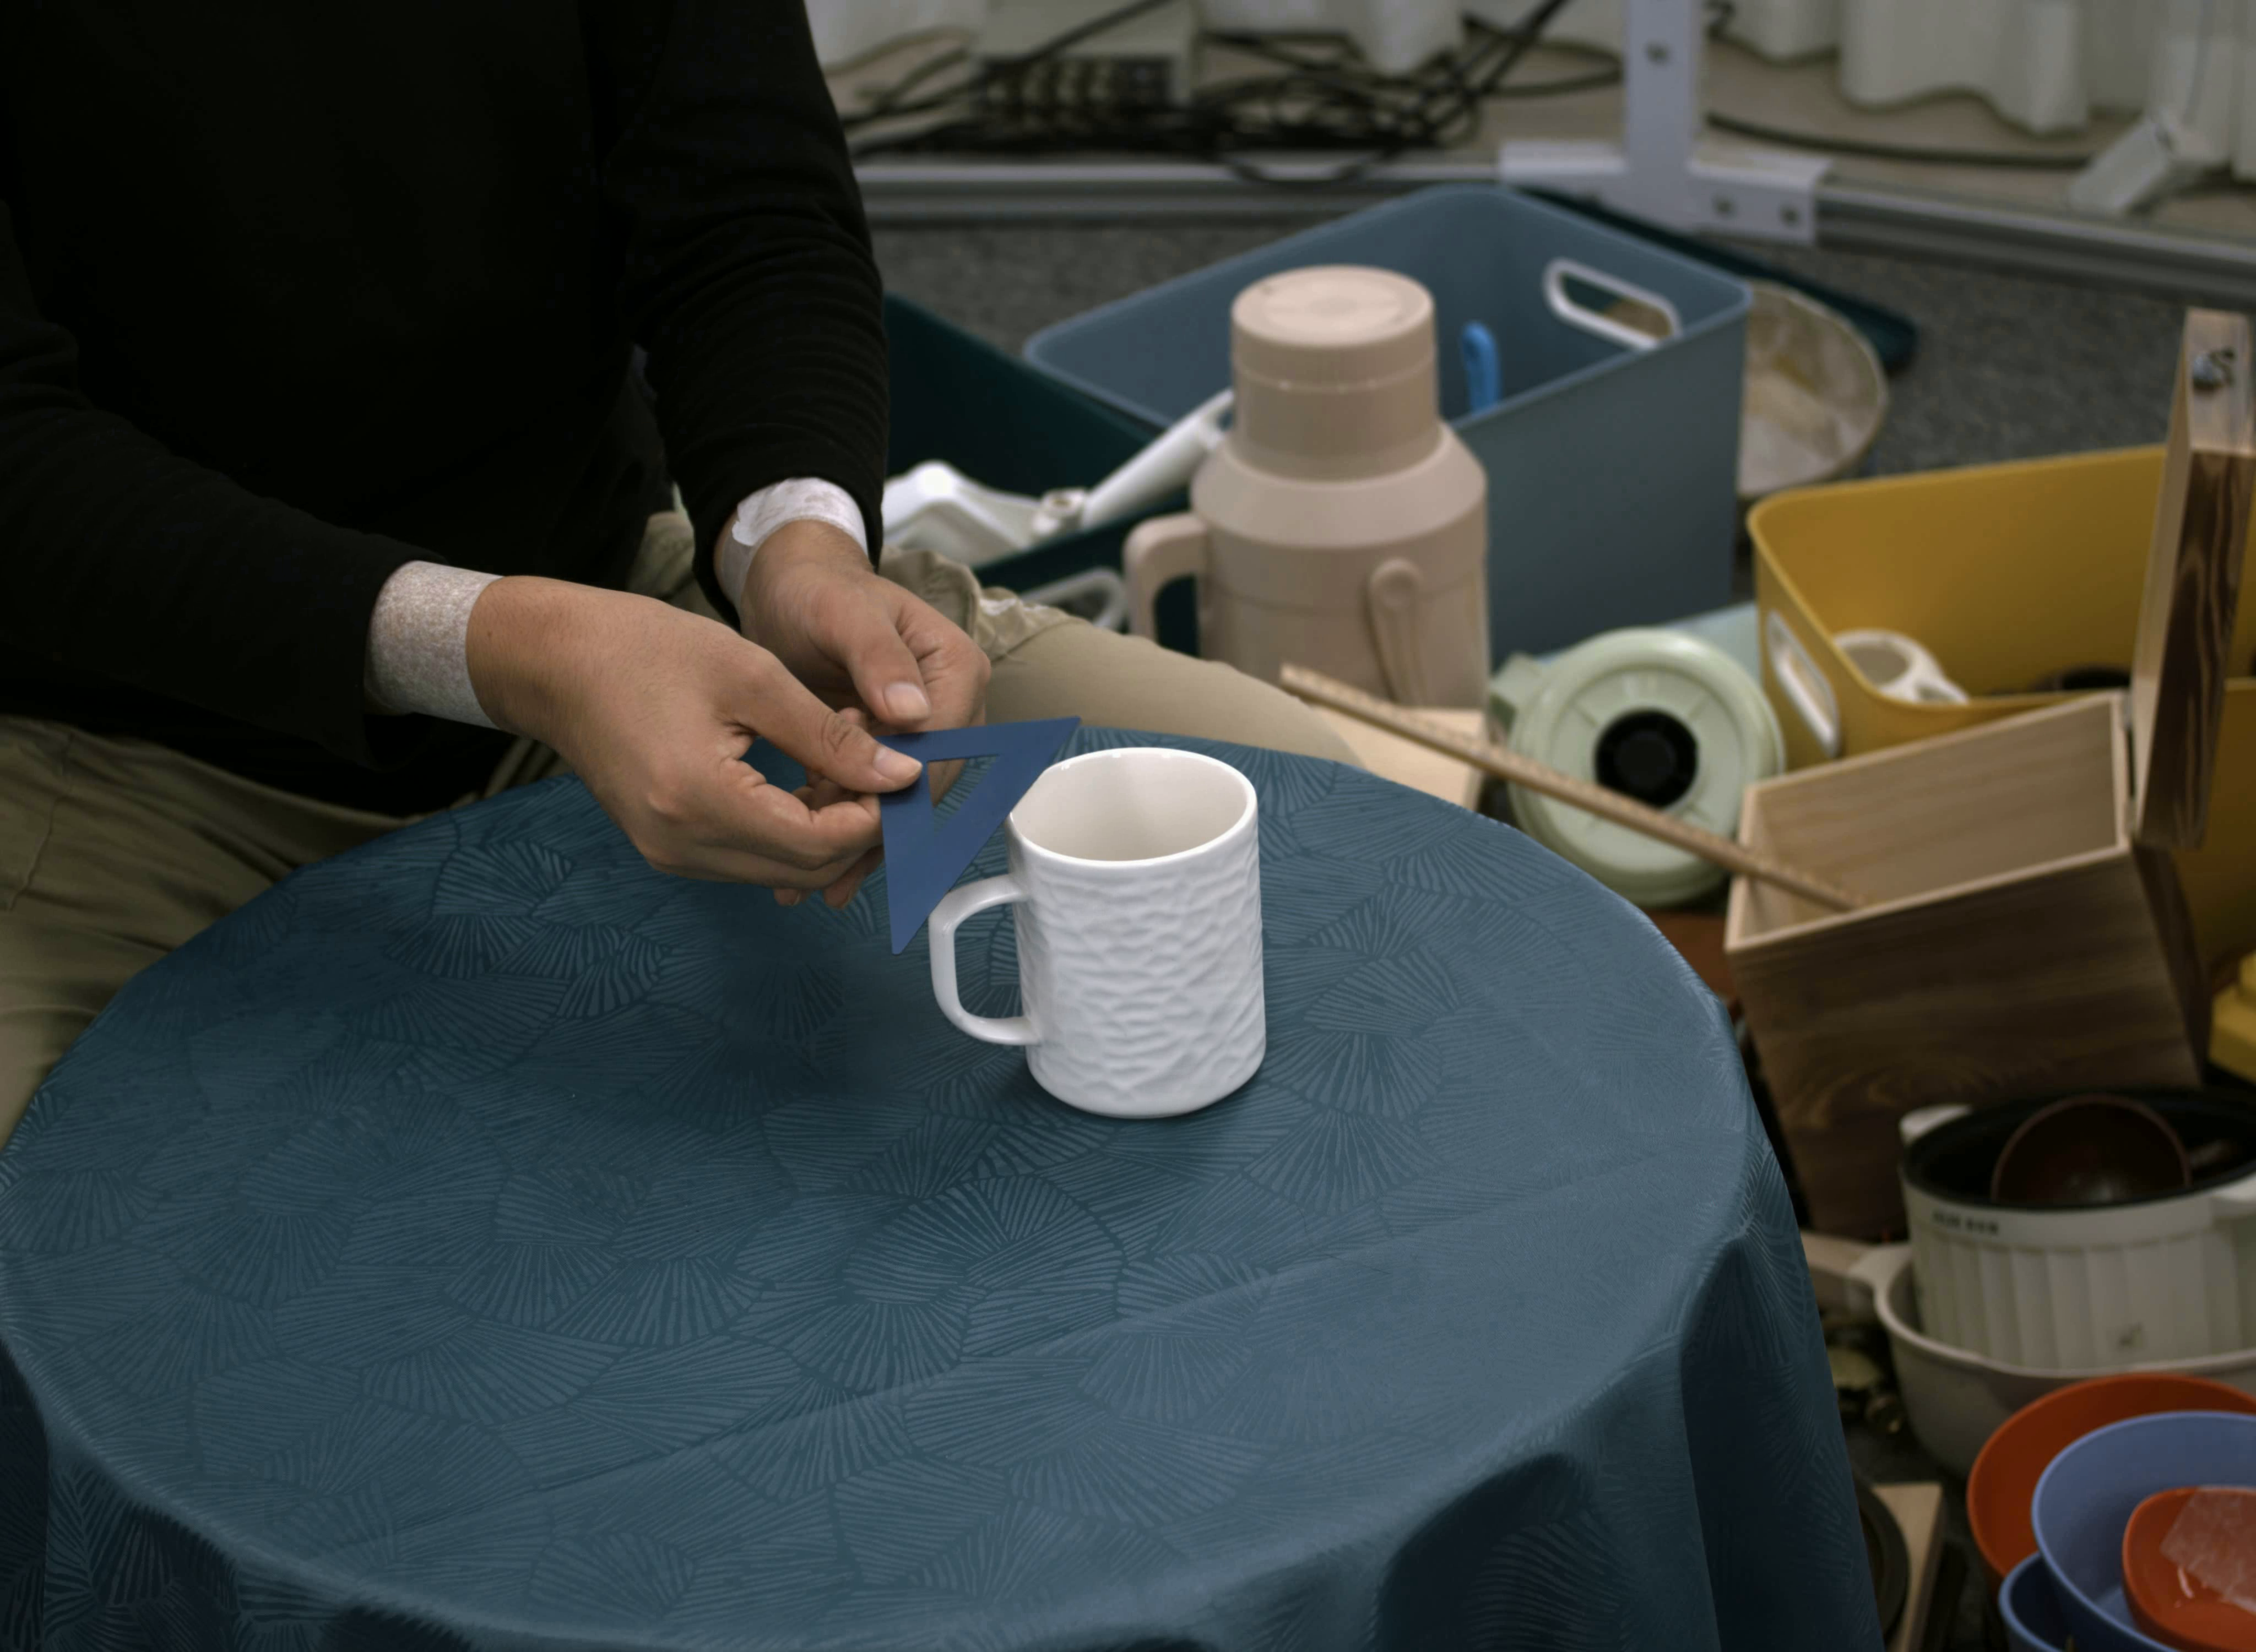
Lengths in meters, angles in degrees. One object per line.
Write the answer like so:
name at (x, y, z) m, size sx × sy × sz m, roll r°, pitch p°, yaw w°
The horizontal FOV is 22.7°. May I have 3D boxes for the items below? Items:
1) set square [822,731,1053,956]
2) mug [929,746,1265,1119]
set square at (-0.081, -0.001, 1.867) m, size 0.061 × 0.006 × 0.134 m, roll 17°, pitch 41°, yaw 24°
mug at (-0.010, 0.041, 1.908) m, size 0.119 × 0.101 × 0.085 m, roll -14°, pitch 29°, yaw -21°
